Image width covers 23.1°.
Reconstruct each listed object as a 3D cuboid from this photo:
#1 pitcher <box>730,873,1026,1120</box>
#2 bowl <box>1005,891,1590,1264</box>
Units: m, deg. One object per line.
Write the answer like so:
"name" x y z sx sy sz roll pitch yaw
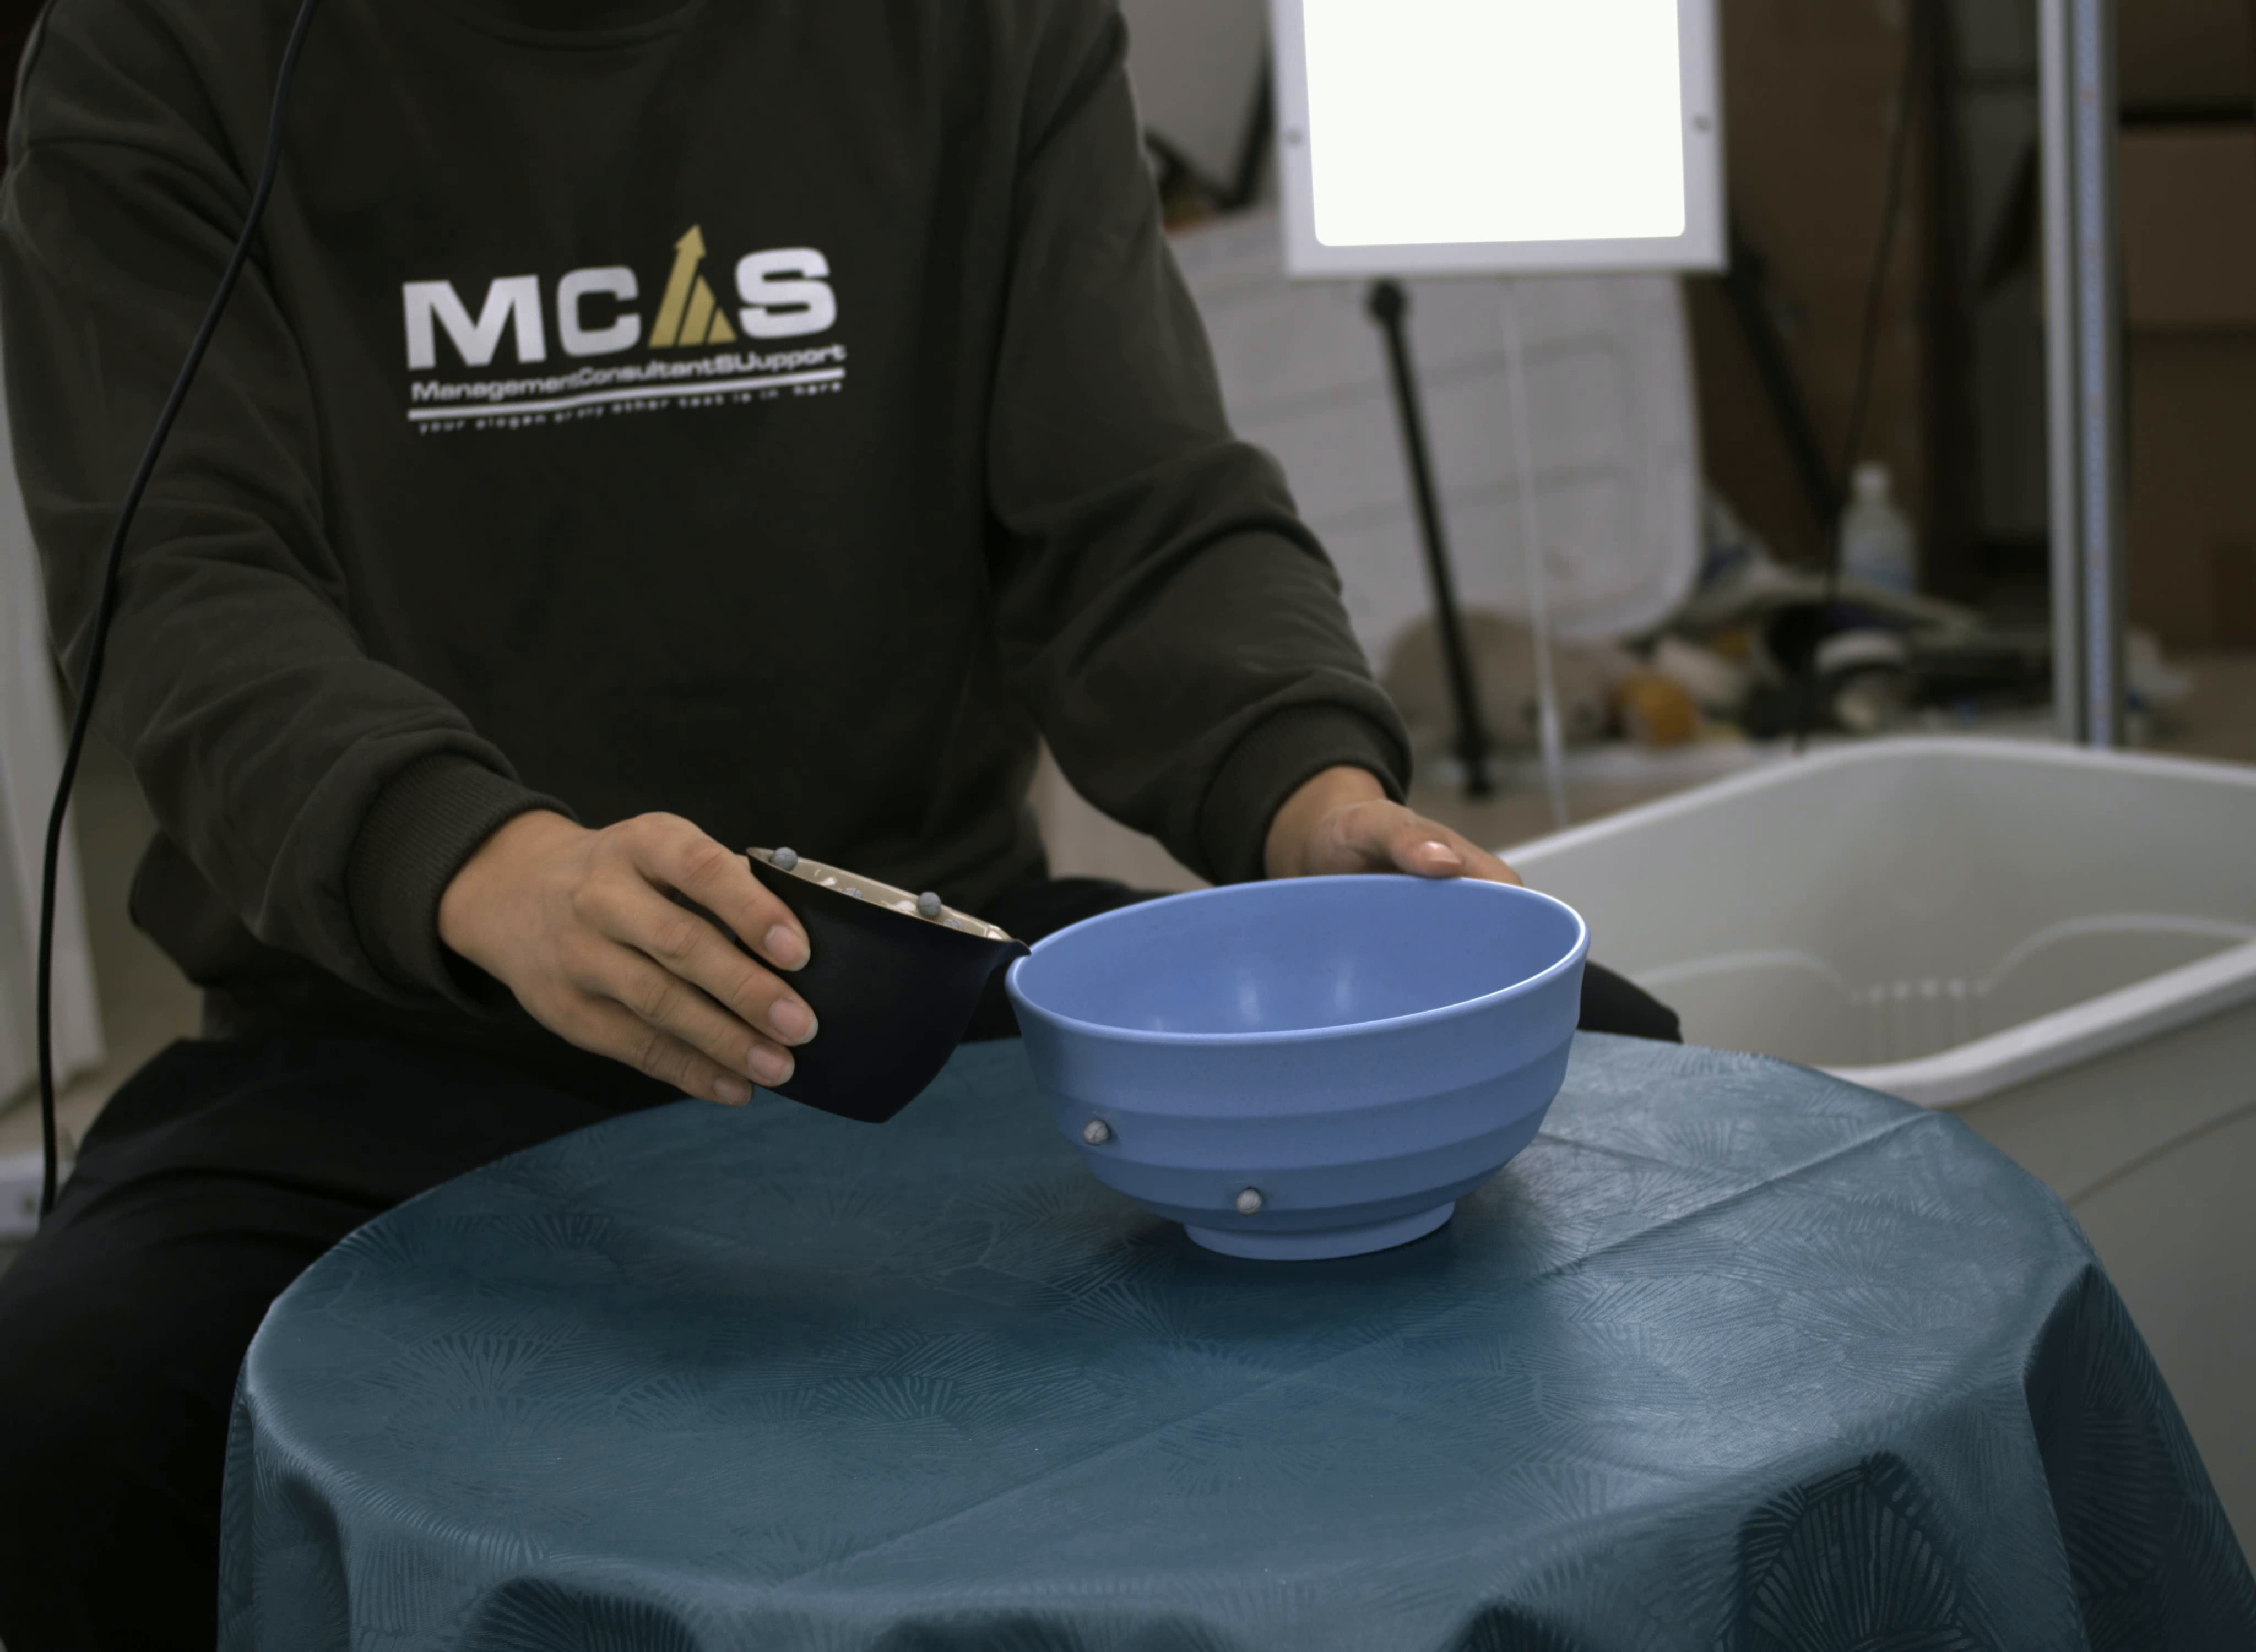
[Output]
"pitcher" -0.086 0.056 1.794 0.094 0.071 0.084 17 3 -19
"bowl" 0.060 0.088 1.841 0.196 0.096 0.196 -6 12 0
